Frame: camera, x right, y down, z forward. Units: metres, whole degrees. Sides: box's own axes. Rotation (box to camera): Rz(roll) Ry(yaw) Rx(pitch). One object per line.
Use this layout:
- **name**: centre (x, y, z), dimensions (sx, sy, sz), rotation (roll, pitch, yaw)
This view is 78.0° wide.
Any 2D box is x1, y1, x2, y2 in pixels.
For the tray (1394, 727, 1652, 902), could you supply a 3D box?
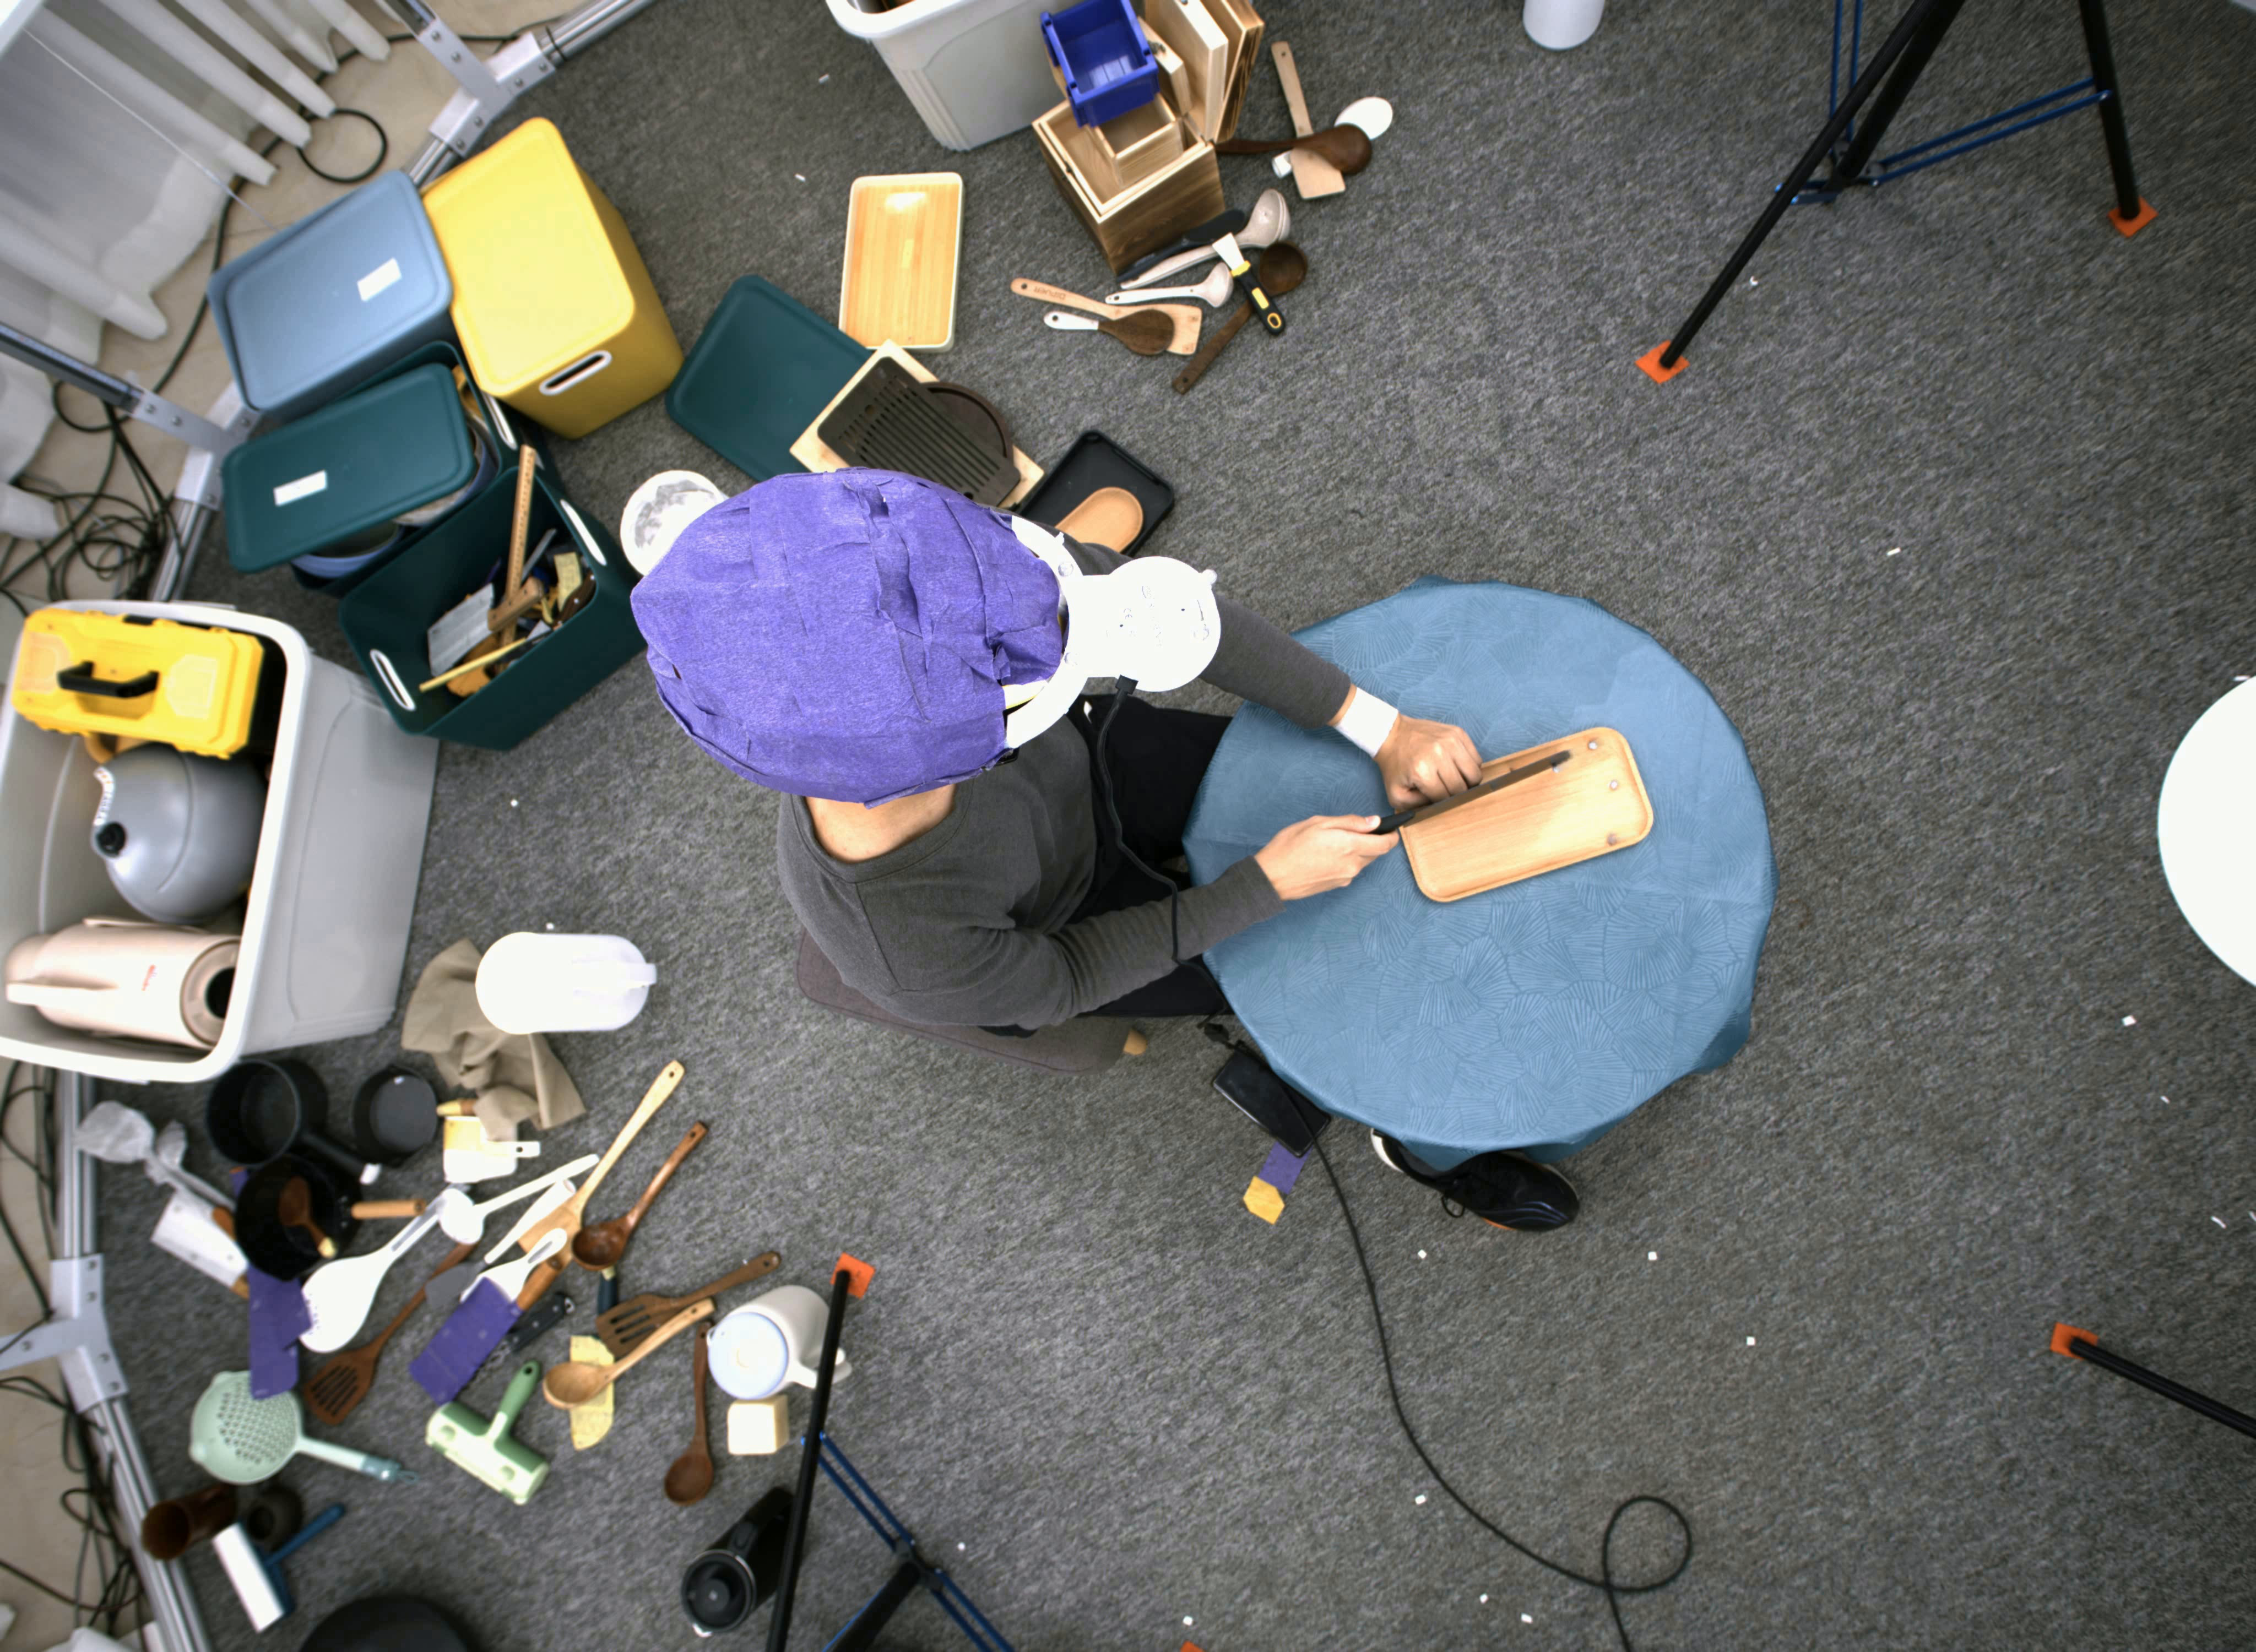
- **tray**: centre (0.410, -0.014, 1.431), dimensions (0.252, 0.023, 0.129), rotation (-17, 81, 10)

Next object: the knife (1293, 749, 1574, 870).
- **knife**: centre (0.310, -0.018, 1.398), dimensions (0.303, 0.081, 0.020), rotation (-21, 76, 4)
